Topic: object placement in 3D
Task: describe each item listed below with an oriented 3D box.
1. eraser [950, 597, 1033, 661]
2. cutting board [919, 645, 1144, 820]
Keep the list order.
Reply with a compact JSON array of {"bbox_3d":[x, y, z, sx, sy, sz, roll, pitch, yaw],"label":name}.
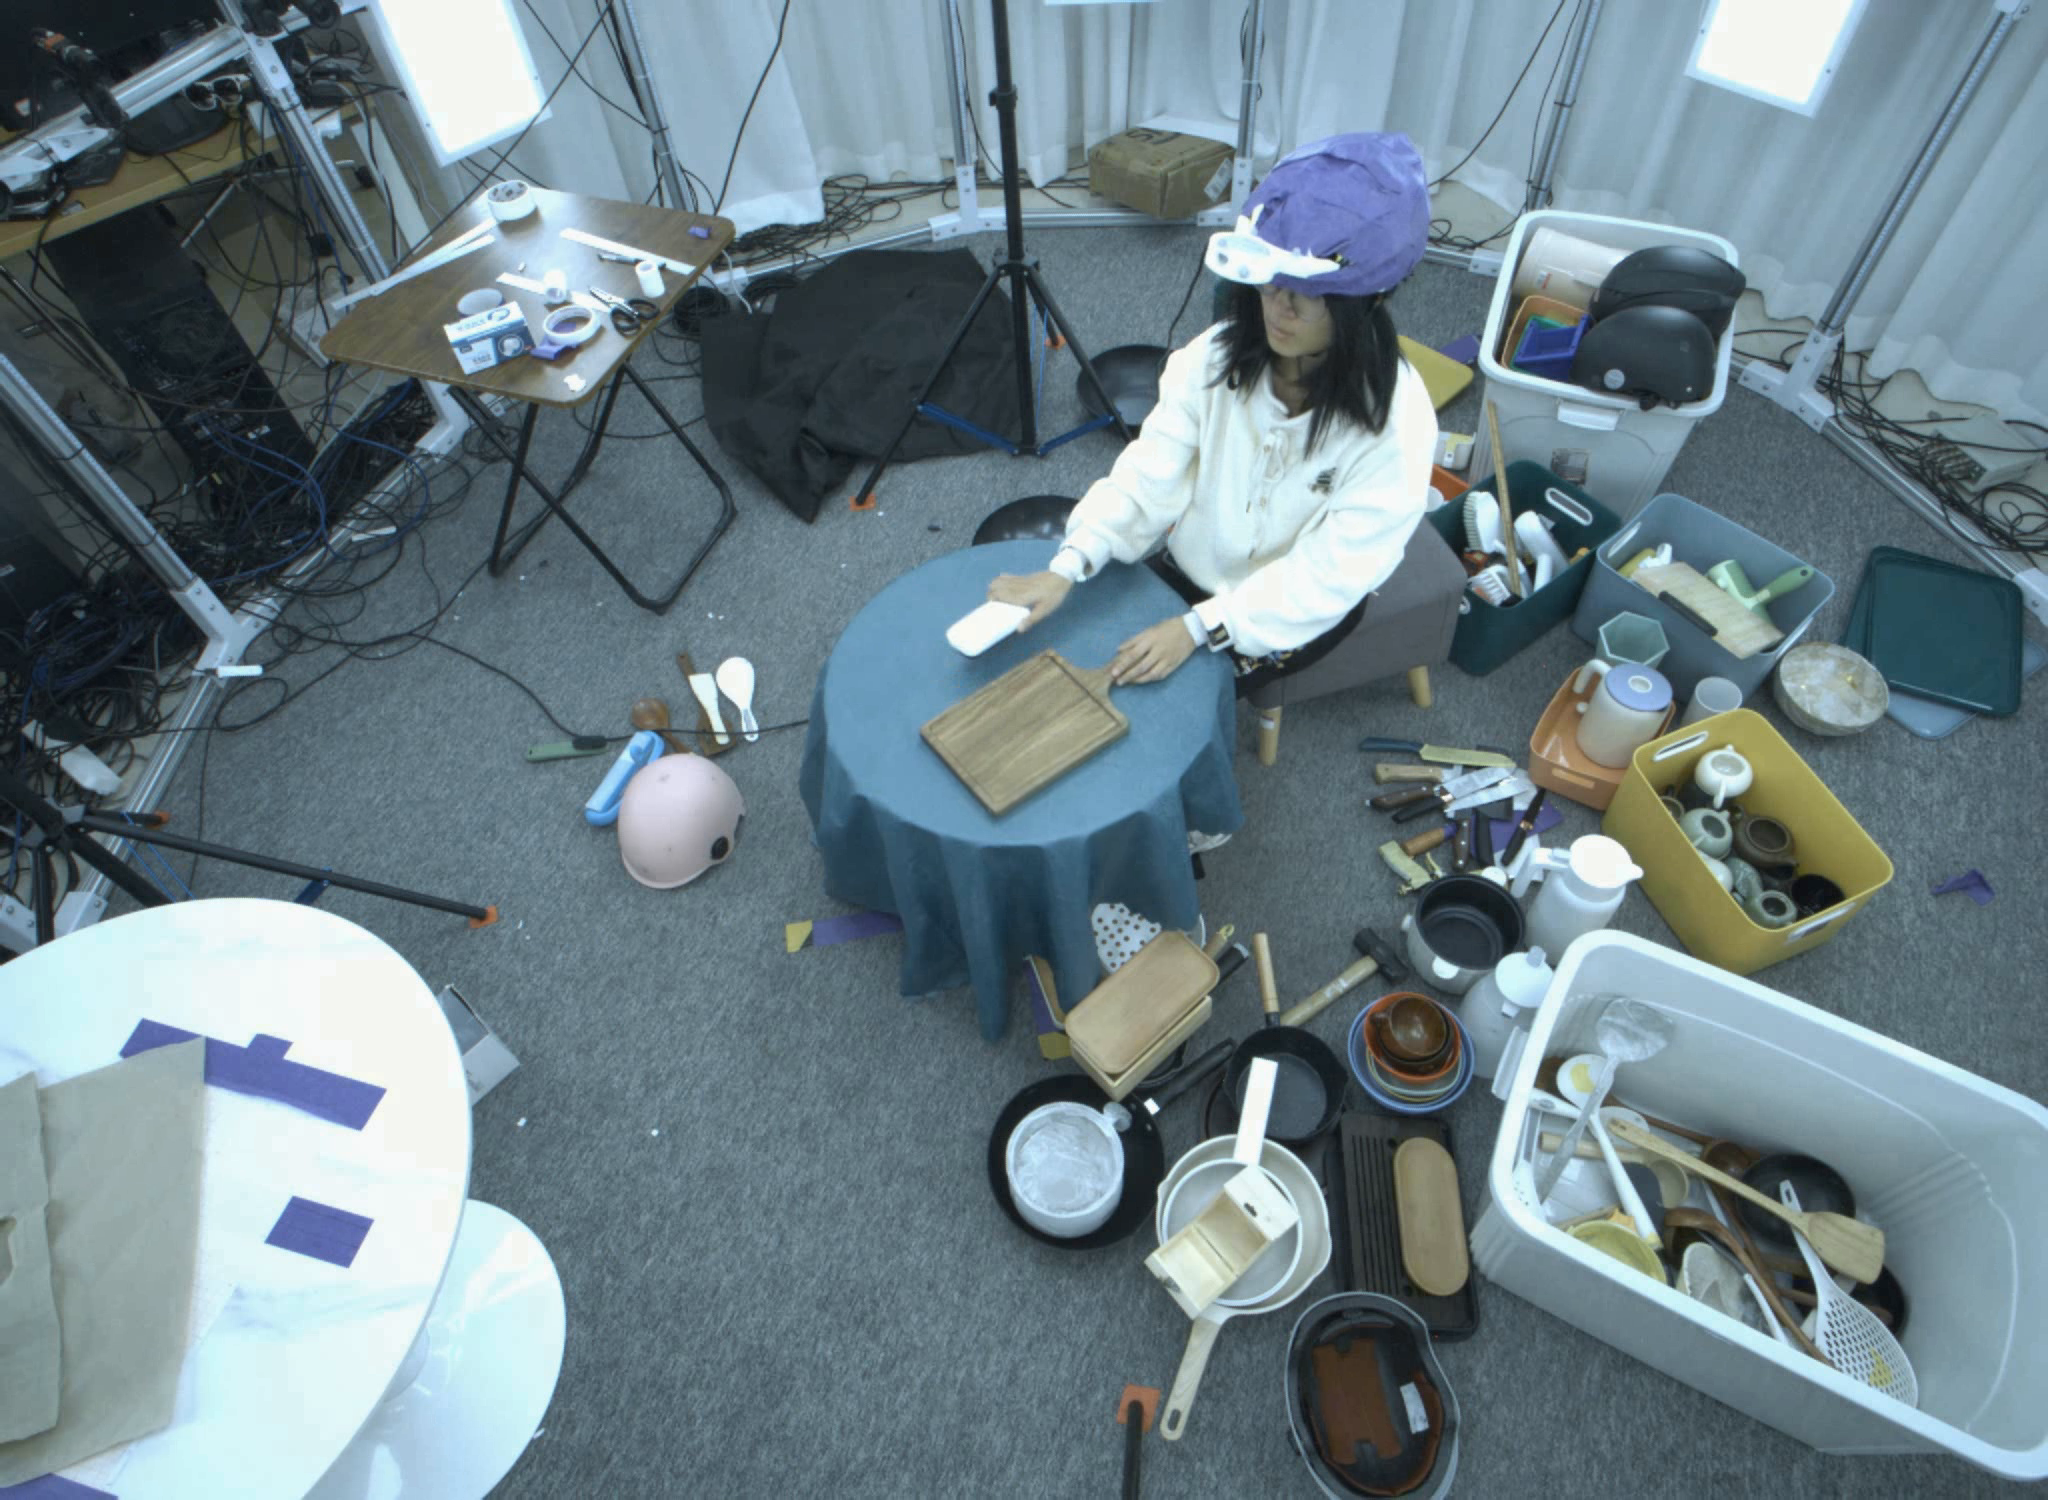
[{"bbox_3d":[-0.048,-0.184,1.850,0.132,0.035,0.062,-36,55,-28],"label":"eraser"},{"bbox_3d":[0.040,-0.056,1.813,0.355,0.023,0.197,-34,61,-20],"label":"cutting board"}]
